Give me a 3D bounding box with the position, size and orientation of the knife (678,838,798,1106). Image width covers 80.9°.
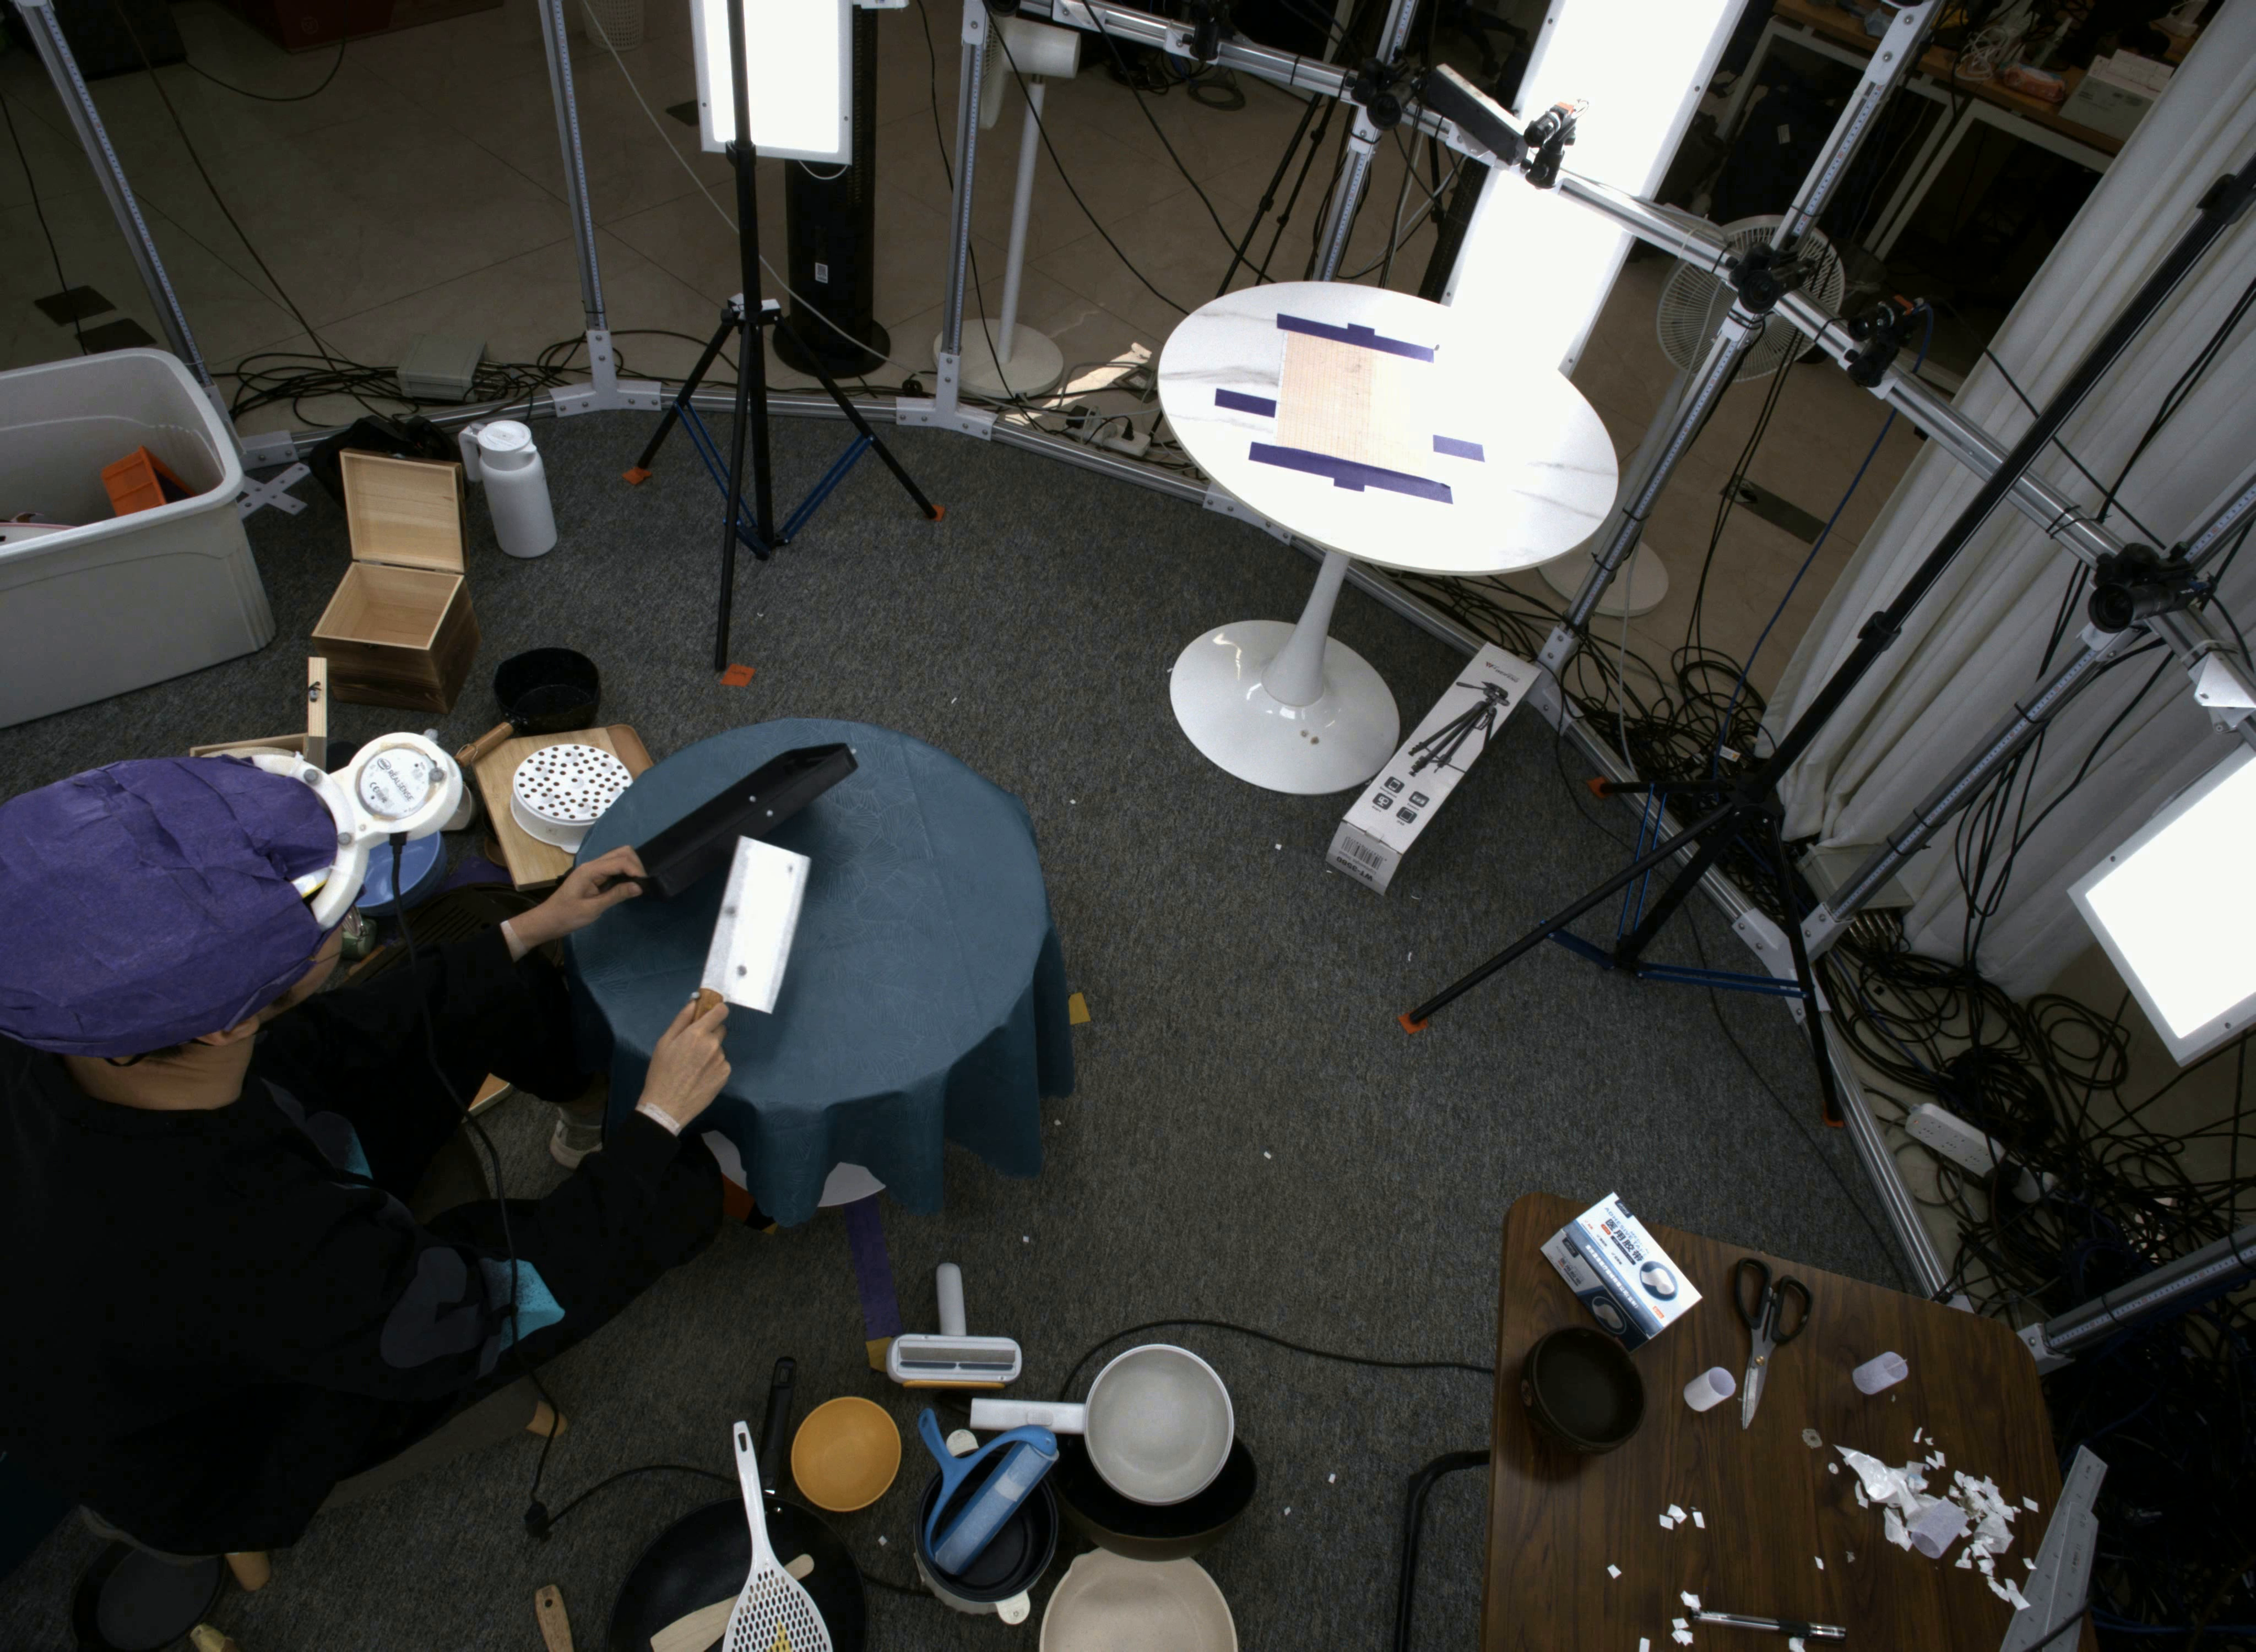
[{"bbox_3d":[-0.435,0.165,1.461,0.095,0.020,0.305,21,70,-34],"label":"knife"}]

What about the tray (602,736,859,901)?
[{"bbox_3d":[-0.492,-0.012,1.604,0.318,0.178,0.038,-42,116,-38],"label":"tray"}]
